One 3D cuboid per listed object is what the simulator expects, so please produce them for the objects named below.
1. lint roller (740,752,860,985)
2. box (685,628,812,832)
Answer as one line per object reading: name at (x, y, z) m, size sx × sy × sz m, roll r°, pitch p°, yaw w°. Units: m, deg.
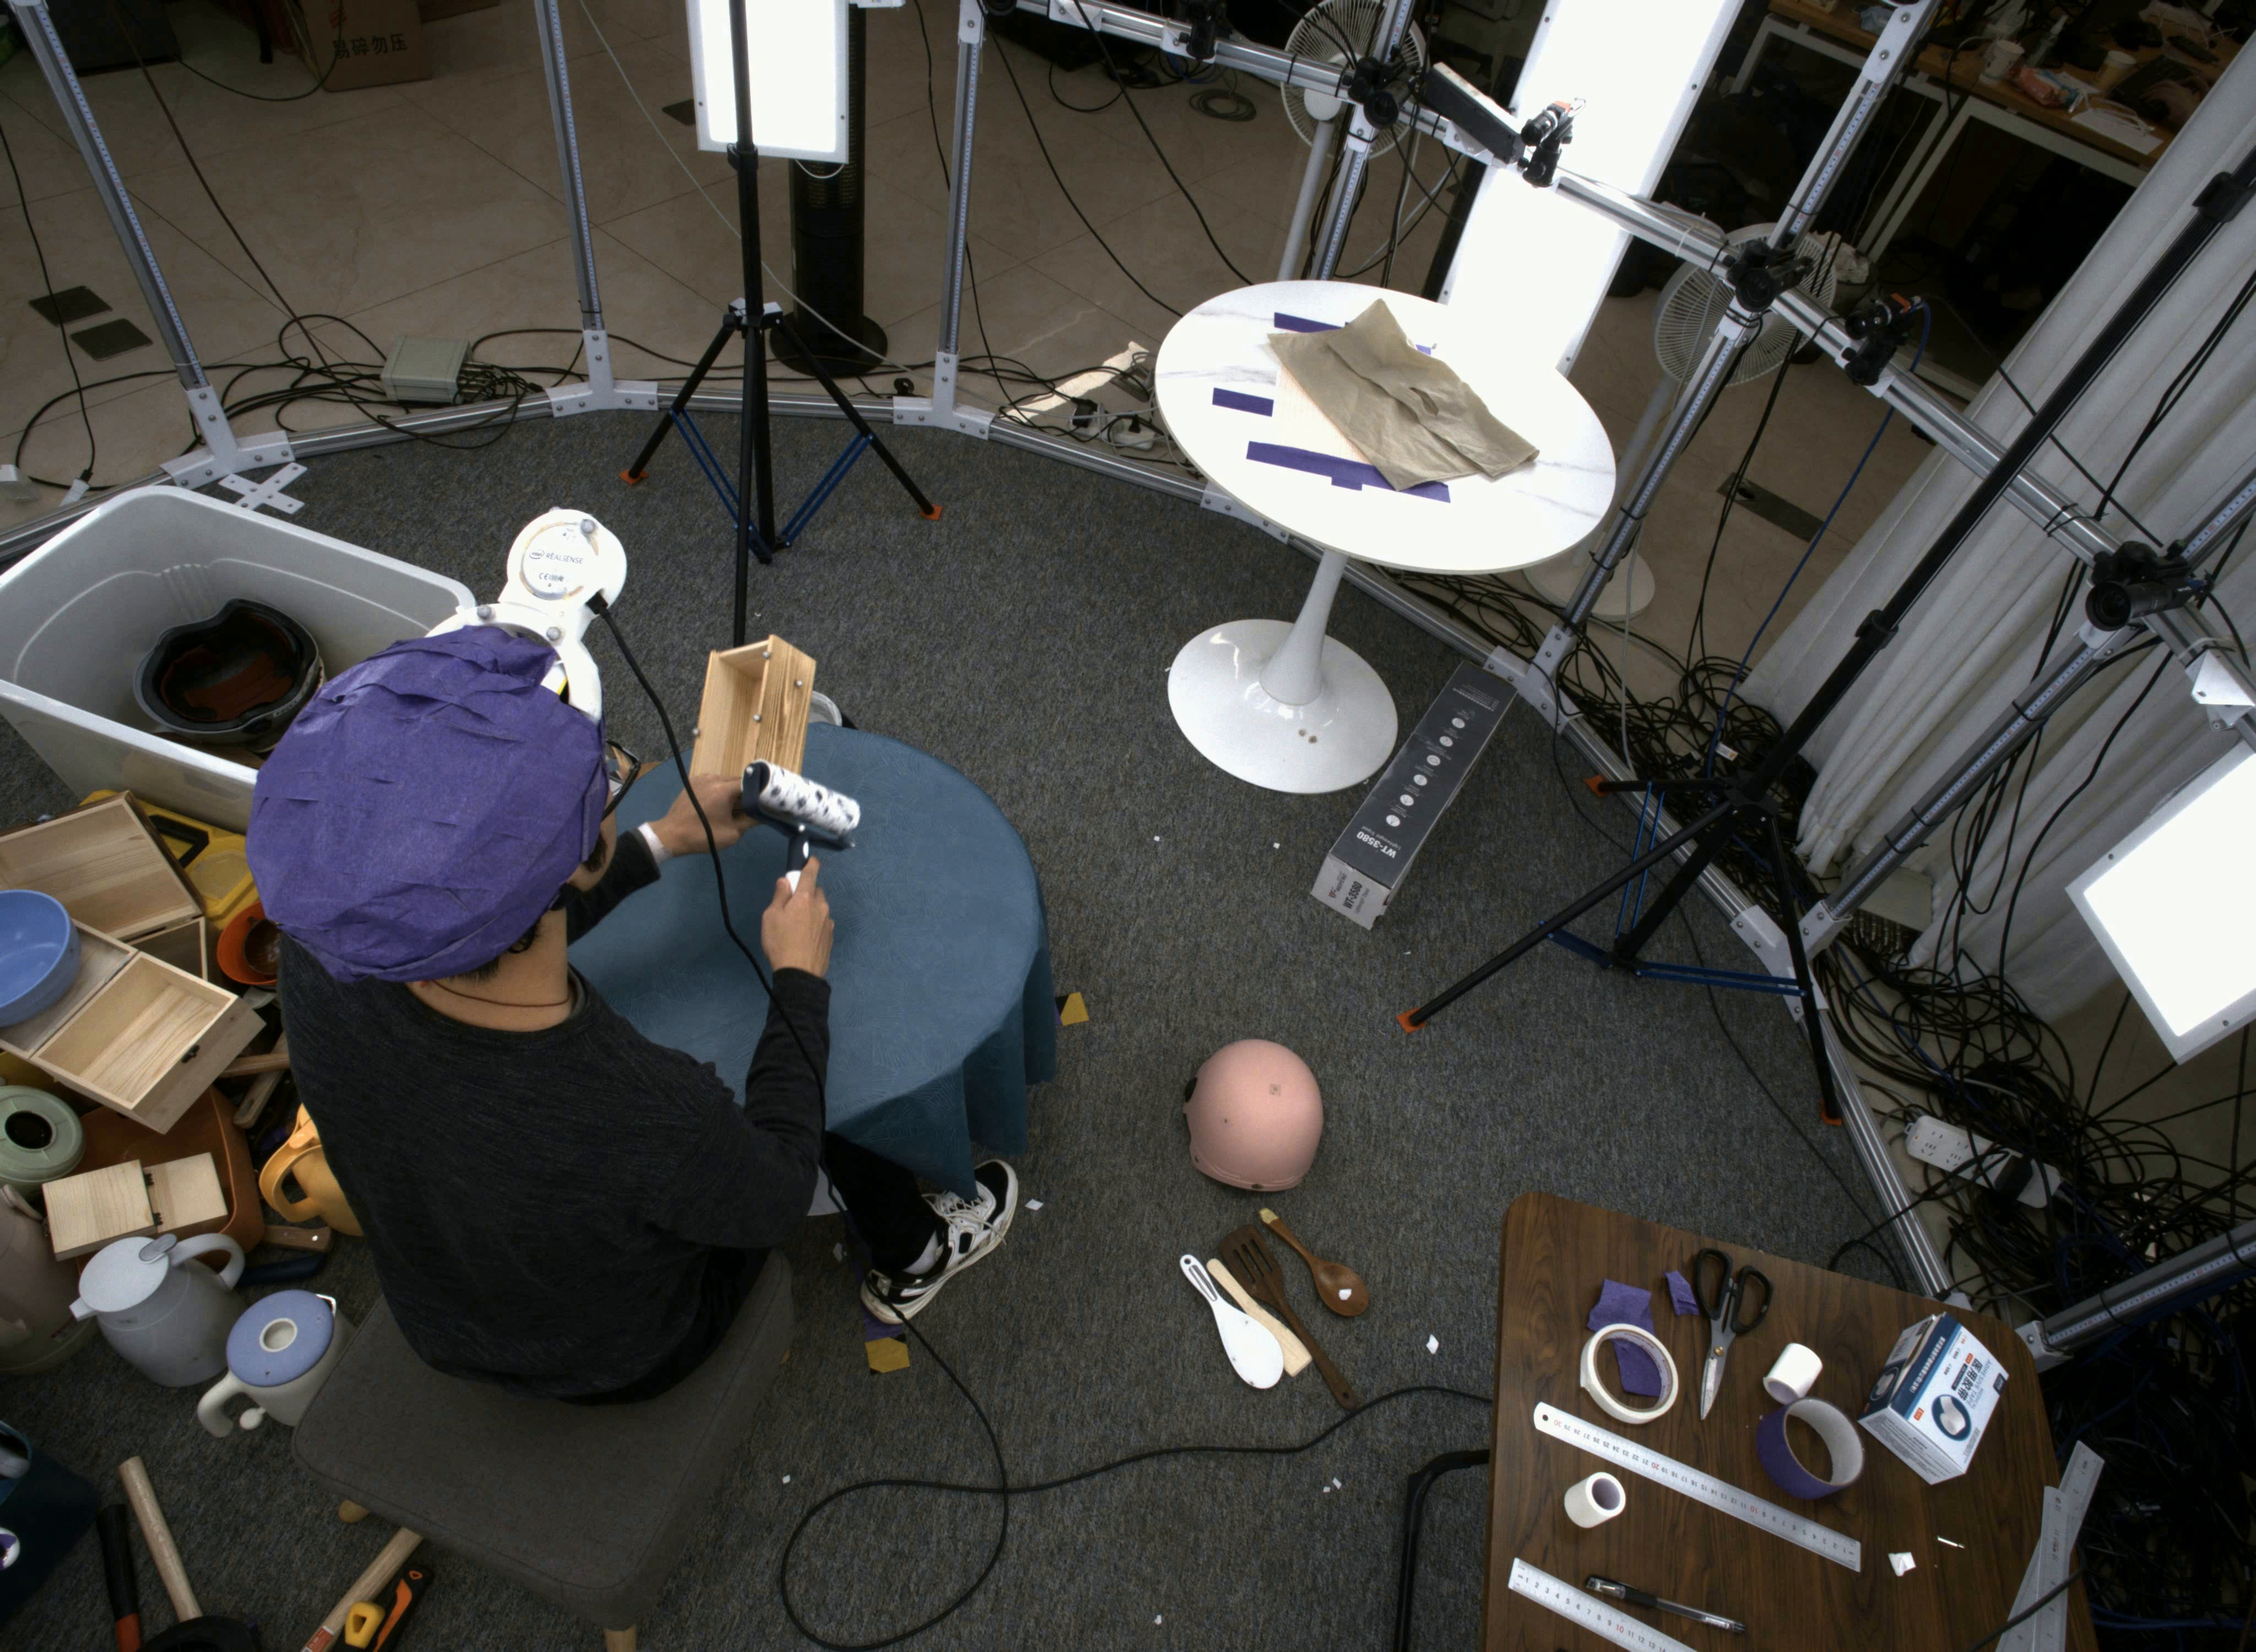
lint roller at (-0.377, 0.056, 1.487) m, size 0.049 × 0.181 × 0.246 m, roll -11°, pitch 71°, yaw 24°
box at (-0.456, -0.114, 1.556) m, size 0.105 × 0.083 × 0.210 m, roll -10°, pitch 67°, yaw 27°
